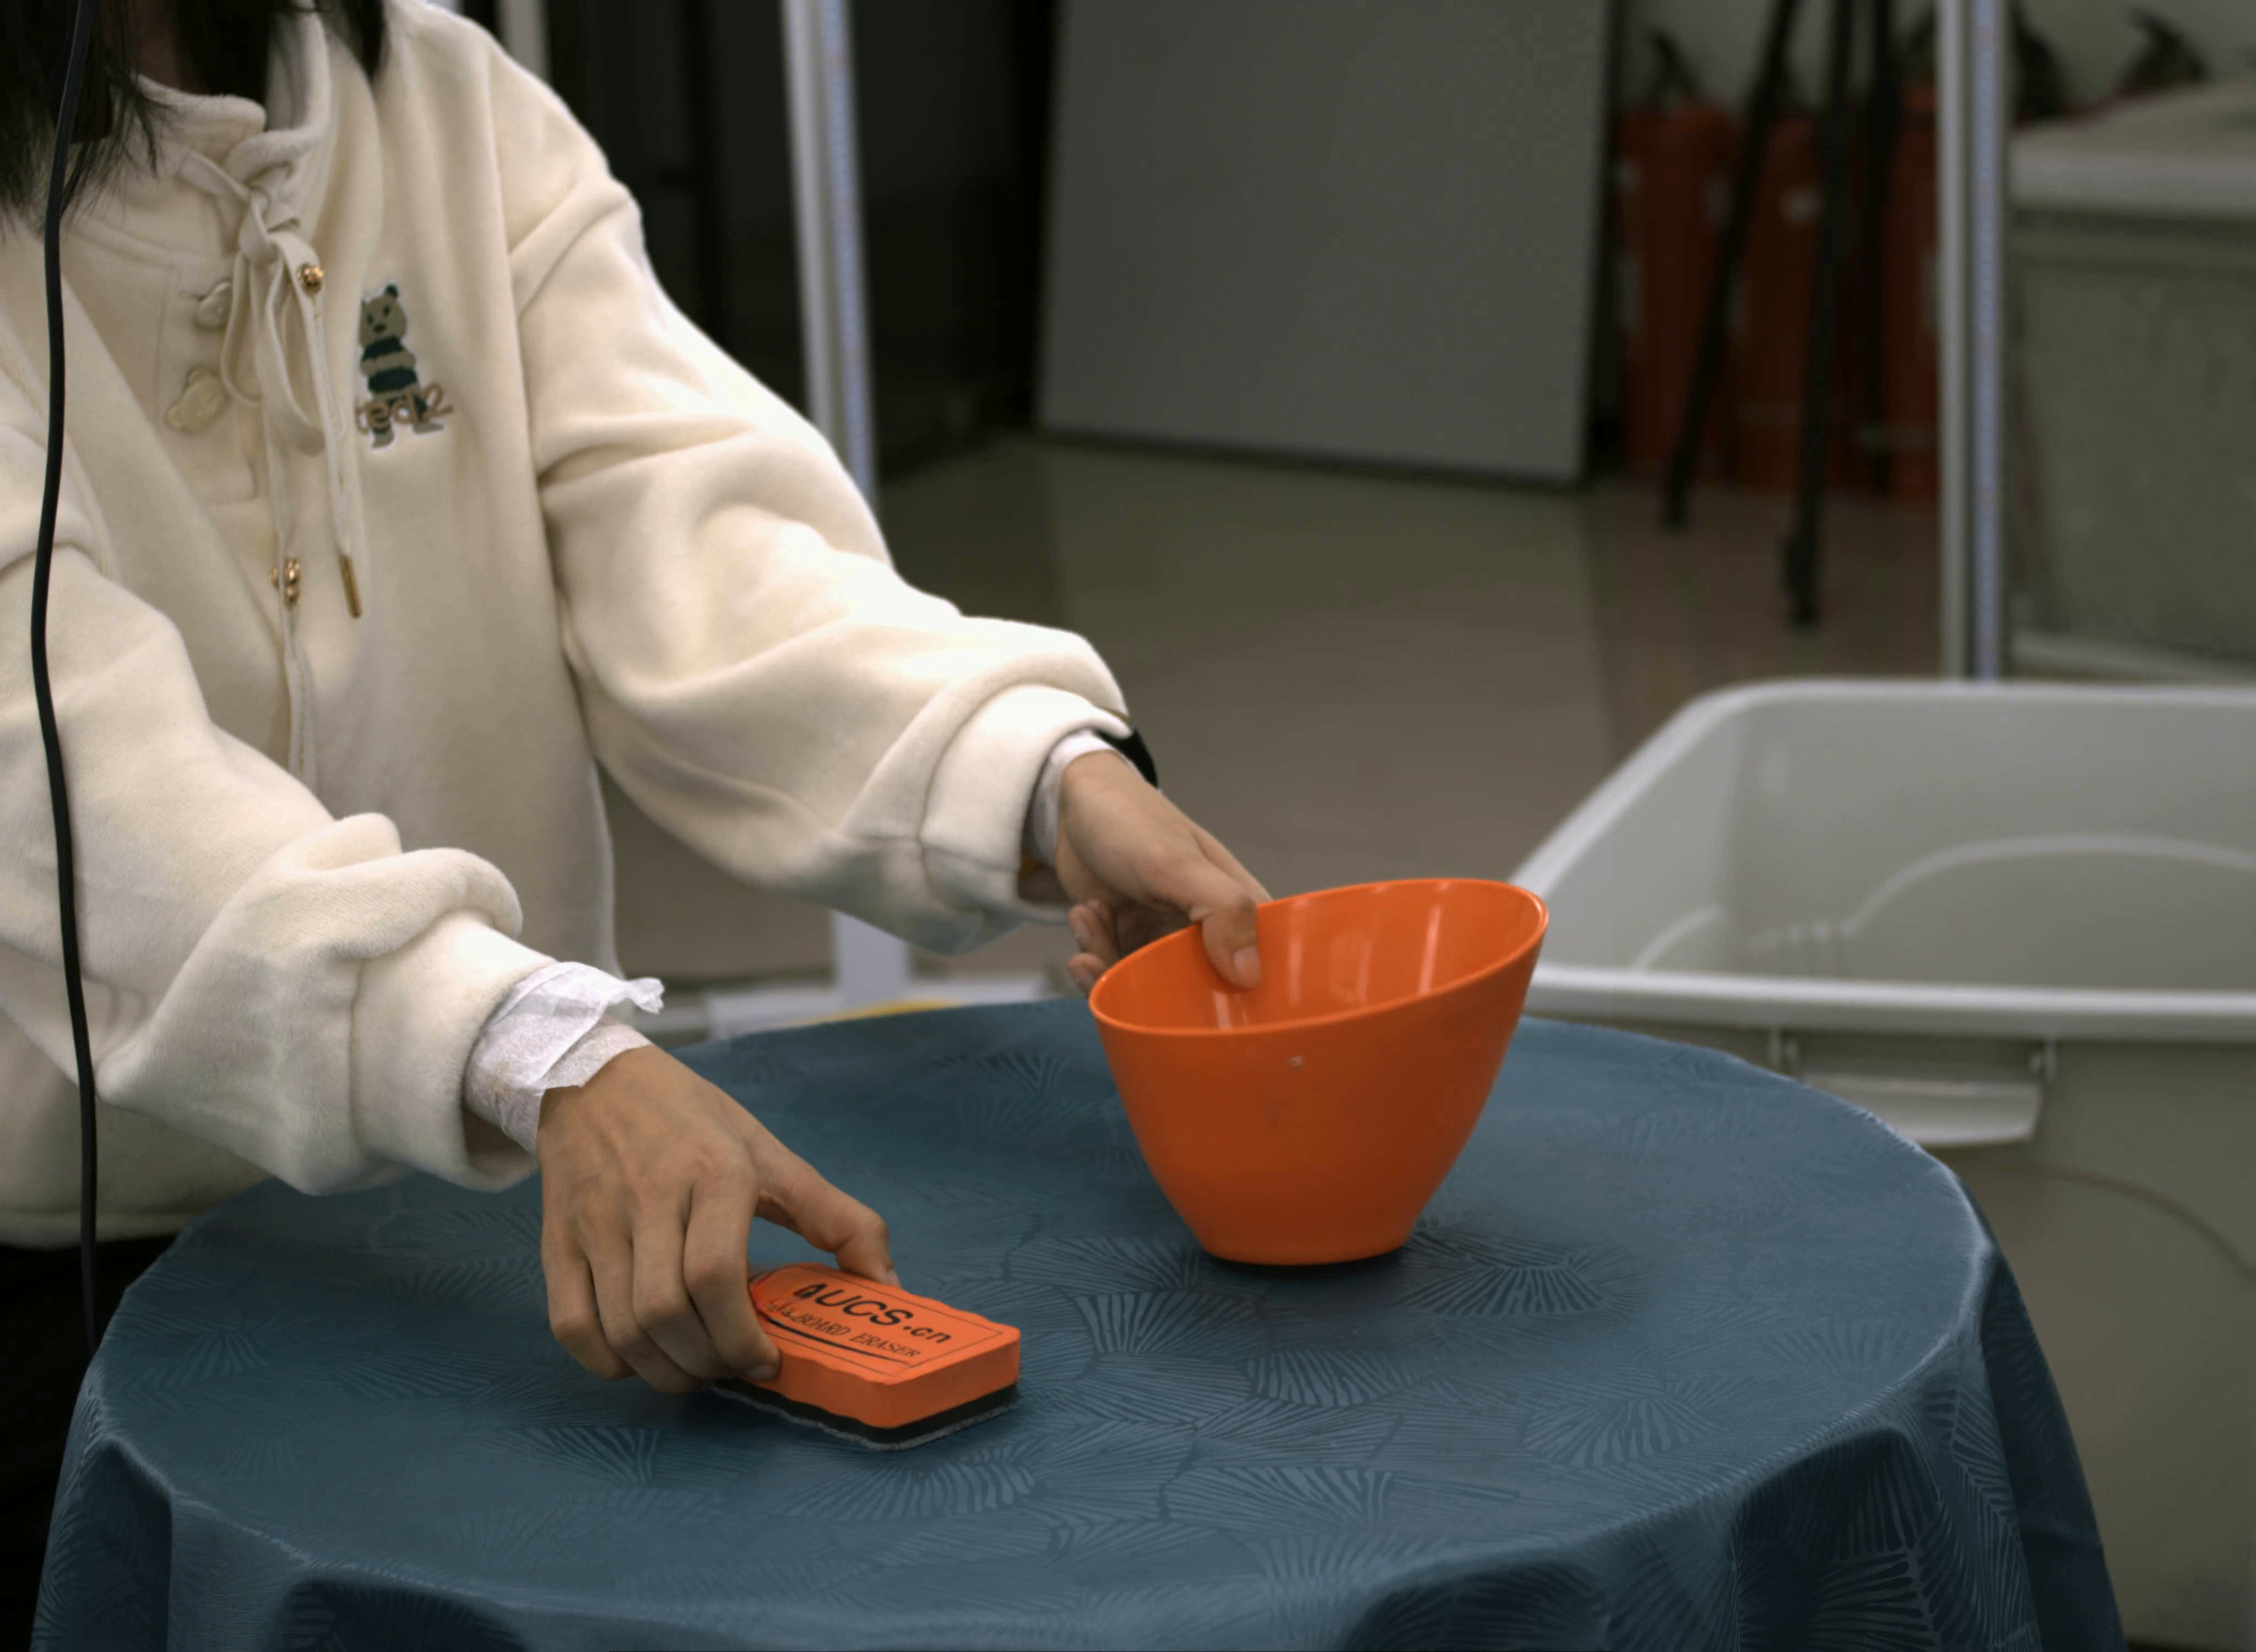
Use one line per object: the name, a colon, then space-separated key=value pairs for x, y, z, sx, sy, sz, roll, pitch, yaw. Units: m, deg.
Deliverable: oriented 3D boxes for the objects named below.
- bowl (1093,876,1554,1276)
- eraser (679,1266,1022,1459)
bowl: x=0.064 y=0.081 z=1.695 sx=0.146 sy=0.106 sz=0.148 roll=-4 pitch=11 yaw=0
eraser: x=-0.082 y=0.158 z=1.597 sx=0.058 sy=0.023 sz=0.109 roll=-17 pitch=19 yaw=-36
